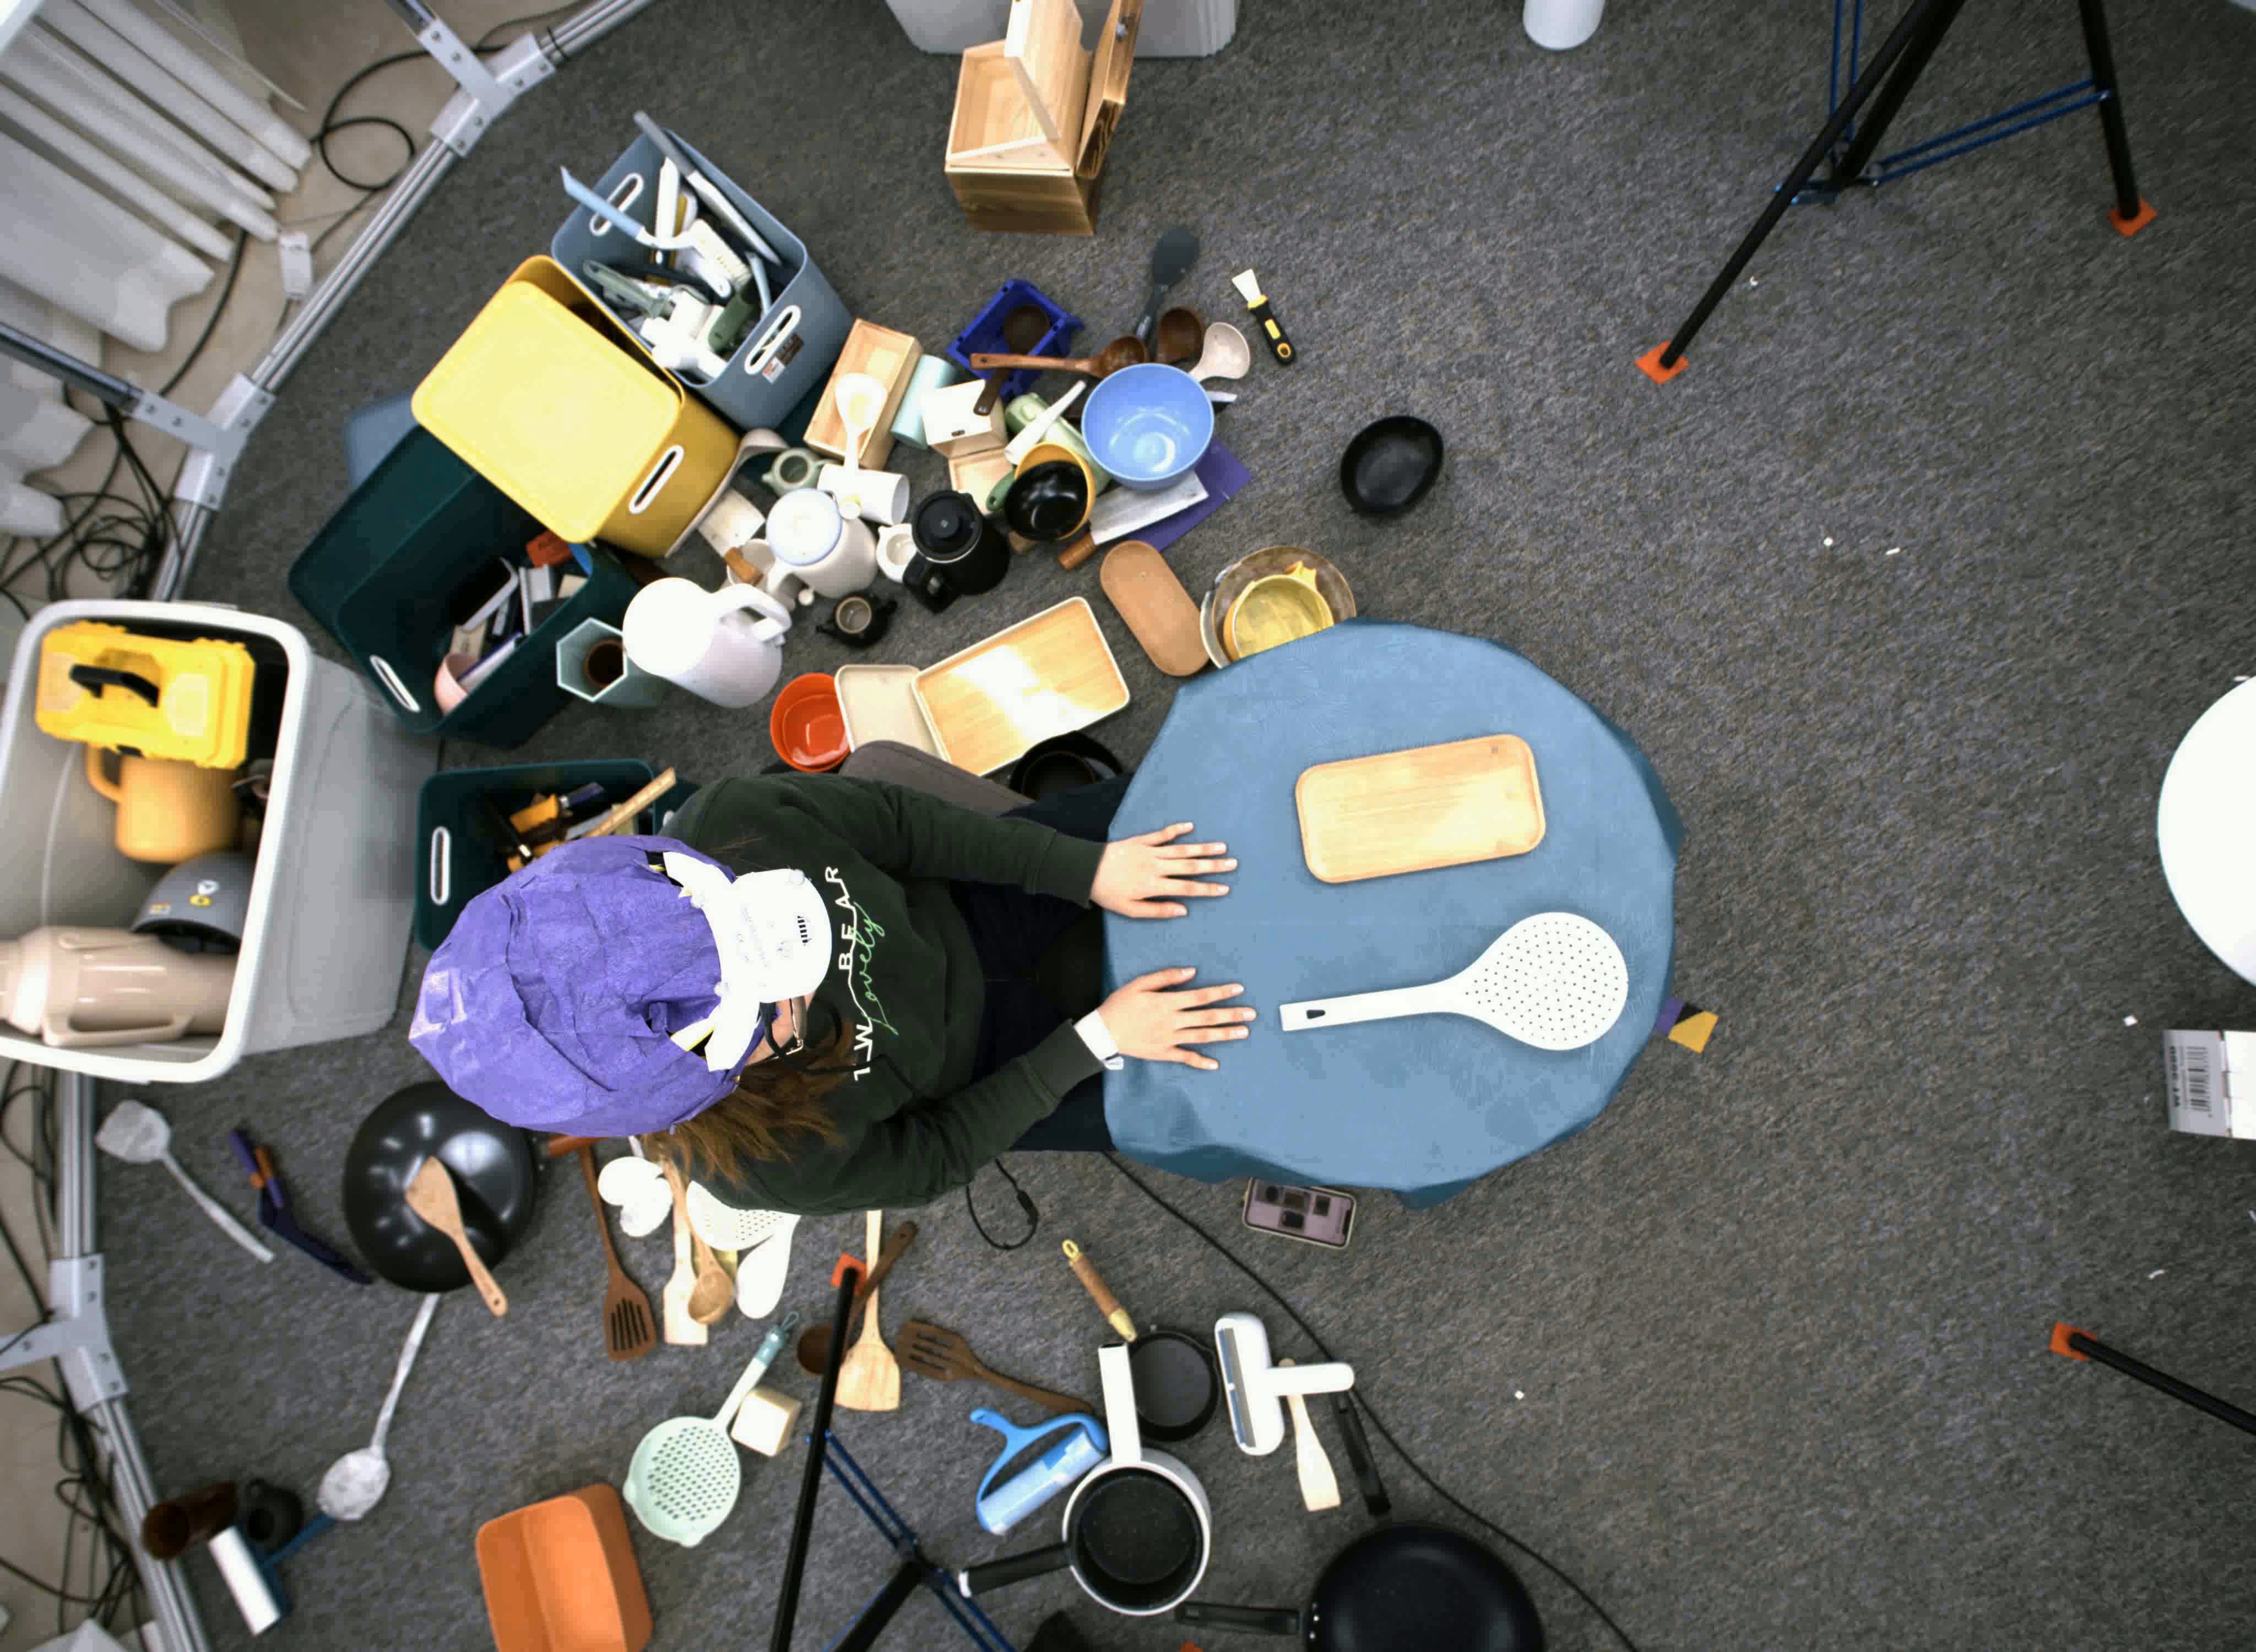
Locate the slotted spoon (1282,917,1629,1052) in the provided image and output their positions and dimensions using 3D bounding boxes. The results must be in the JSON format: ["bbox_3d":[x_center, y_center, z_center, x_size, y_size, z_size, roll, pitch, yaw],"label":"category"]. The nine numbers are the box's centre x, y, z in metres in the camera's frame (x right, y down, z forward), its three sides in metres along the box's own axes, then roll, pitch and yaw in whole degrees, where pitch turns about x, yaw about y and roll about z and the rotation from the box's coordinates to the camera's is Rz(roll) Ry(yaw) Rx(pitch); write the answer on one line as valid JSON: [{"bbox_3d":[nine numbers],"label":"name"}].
[{"bbox_3d":[0.332,0.176,1.423,0.351,0.046,0.135,-9,82,10],"label":"slotted spoon"}]

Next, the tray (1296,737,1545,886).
[{"bbox_3d":[0.308,-0.016,1.455,0.252,0.023,0.129,-9,83,10],"label":"tray"}]
